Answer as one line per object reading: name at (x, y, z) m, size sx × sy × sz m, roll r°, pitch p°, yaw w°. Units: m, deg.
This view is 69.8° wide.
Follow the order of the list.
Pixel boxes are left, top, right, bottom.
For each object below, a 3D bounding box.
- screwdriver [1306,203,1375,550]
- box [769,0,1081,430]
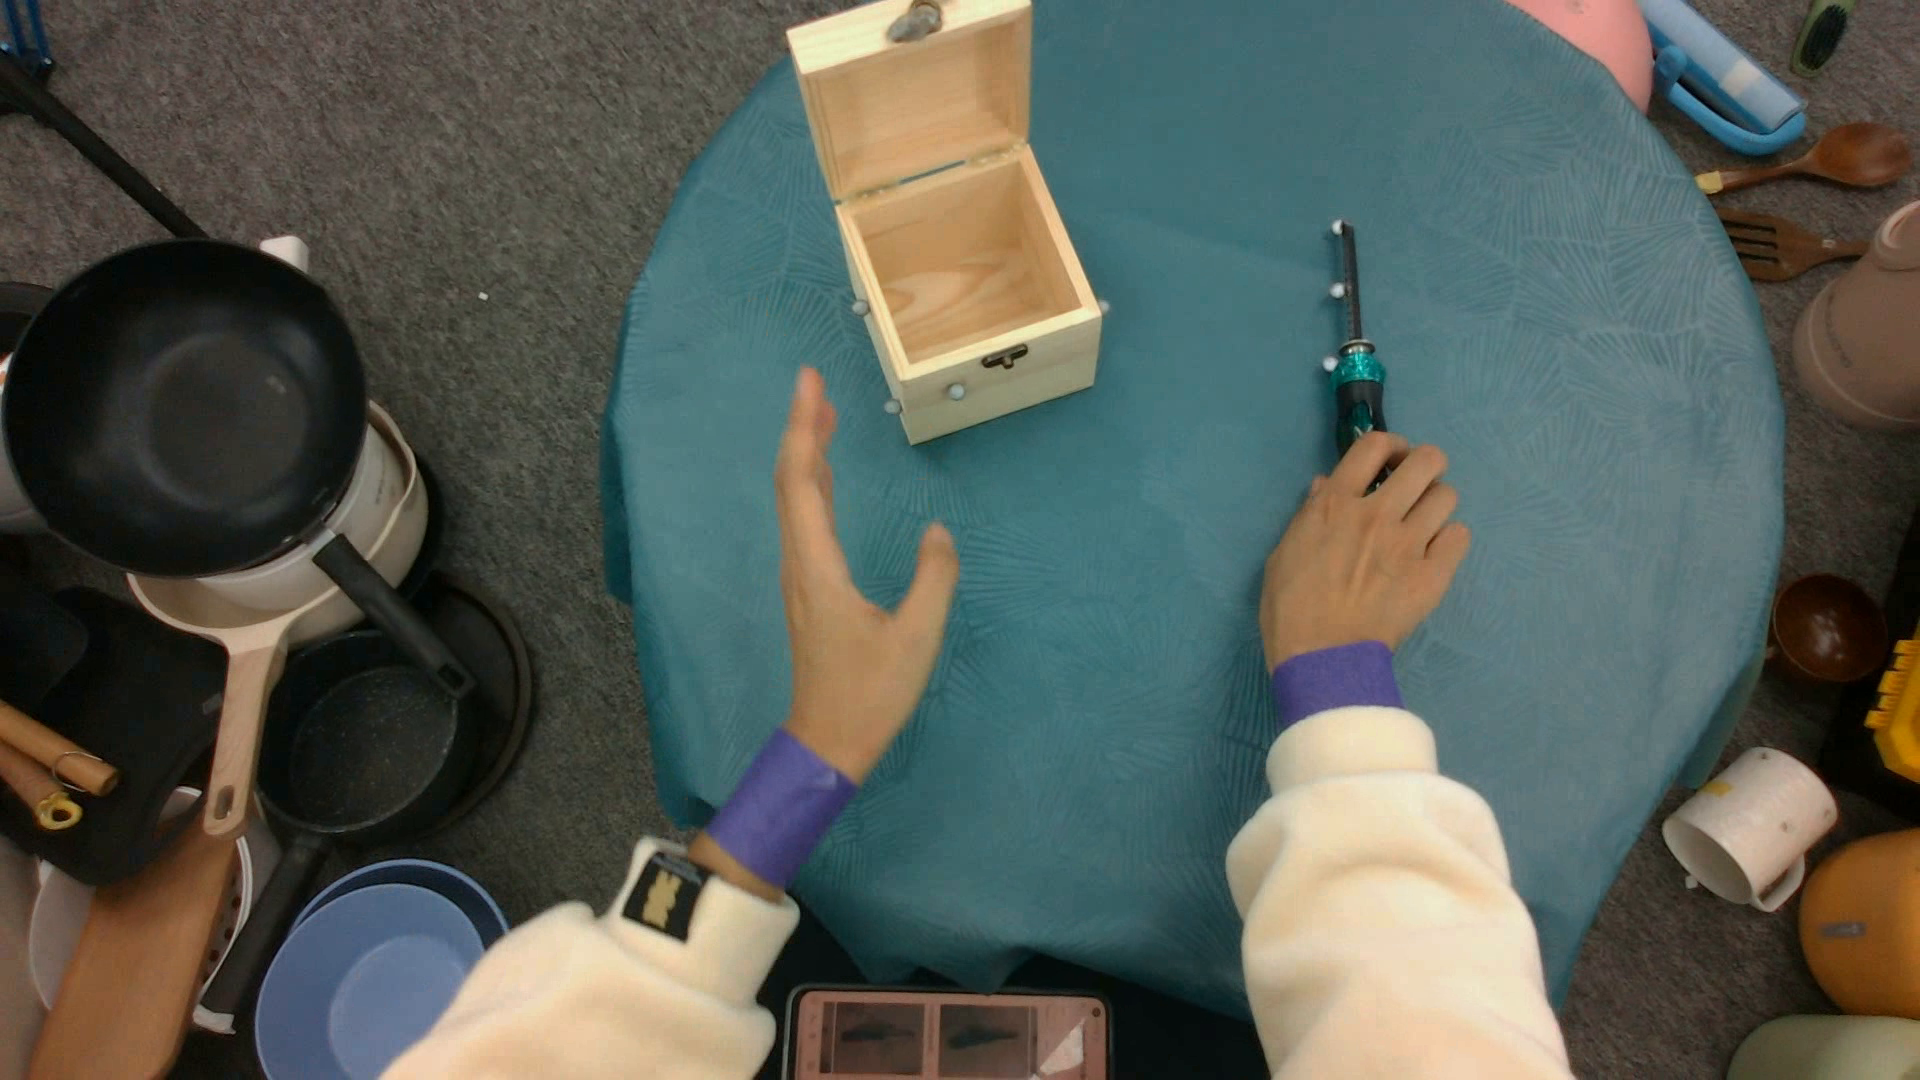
screwdriver at (0.193, -0.088, 0.706) m, size 0.034 × 0.033 × 0.190 m, roll 2°, pitch 73°, yaw 2°
box at (-0.010, -0.154, 0.644) m, size 0.102 × 0.184 × 0.134 m, roll -19°, pitch 71°, yaw -5°
